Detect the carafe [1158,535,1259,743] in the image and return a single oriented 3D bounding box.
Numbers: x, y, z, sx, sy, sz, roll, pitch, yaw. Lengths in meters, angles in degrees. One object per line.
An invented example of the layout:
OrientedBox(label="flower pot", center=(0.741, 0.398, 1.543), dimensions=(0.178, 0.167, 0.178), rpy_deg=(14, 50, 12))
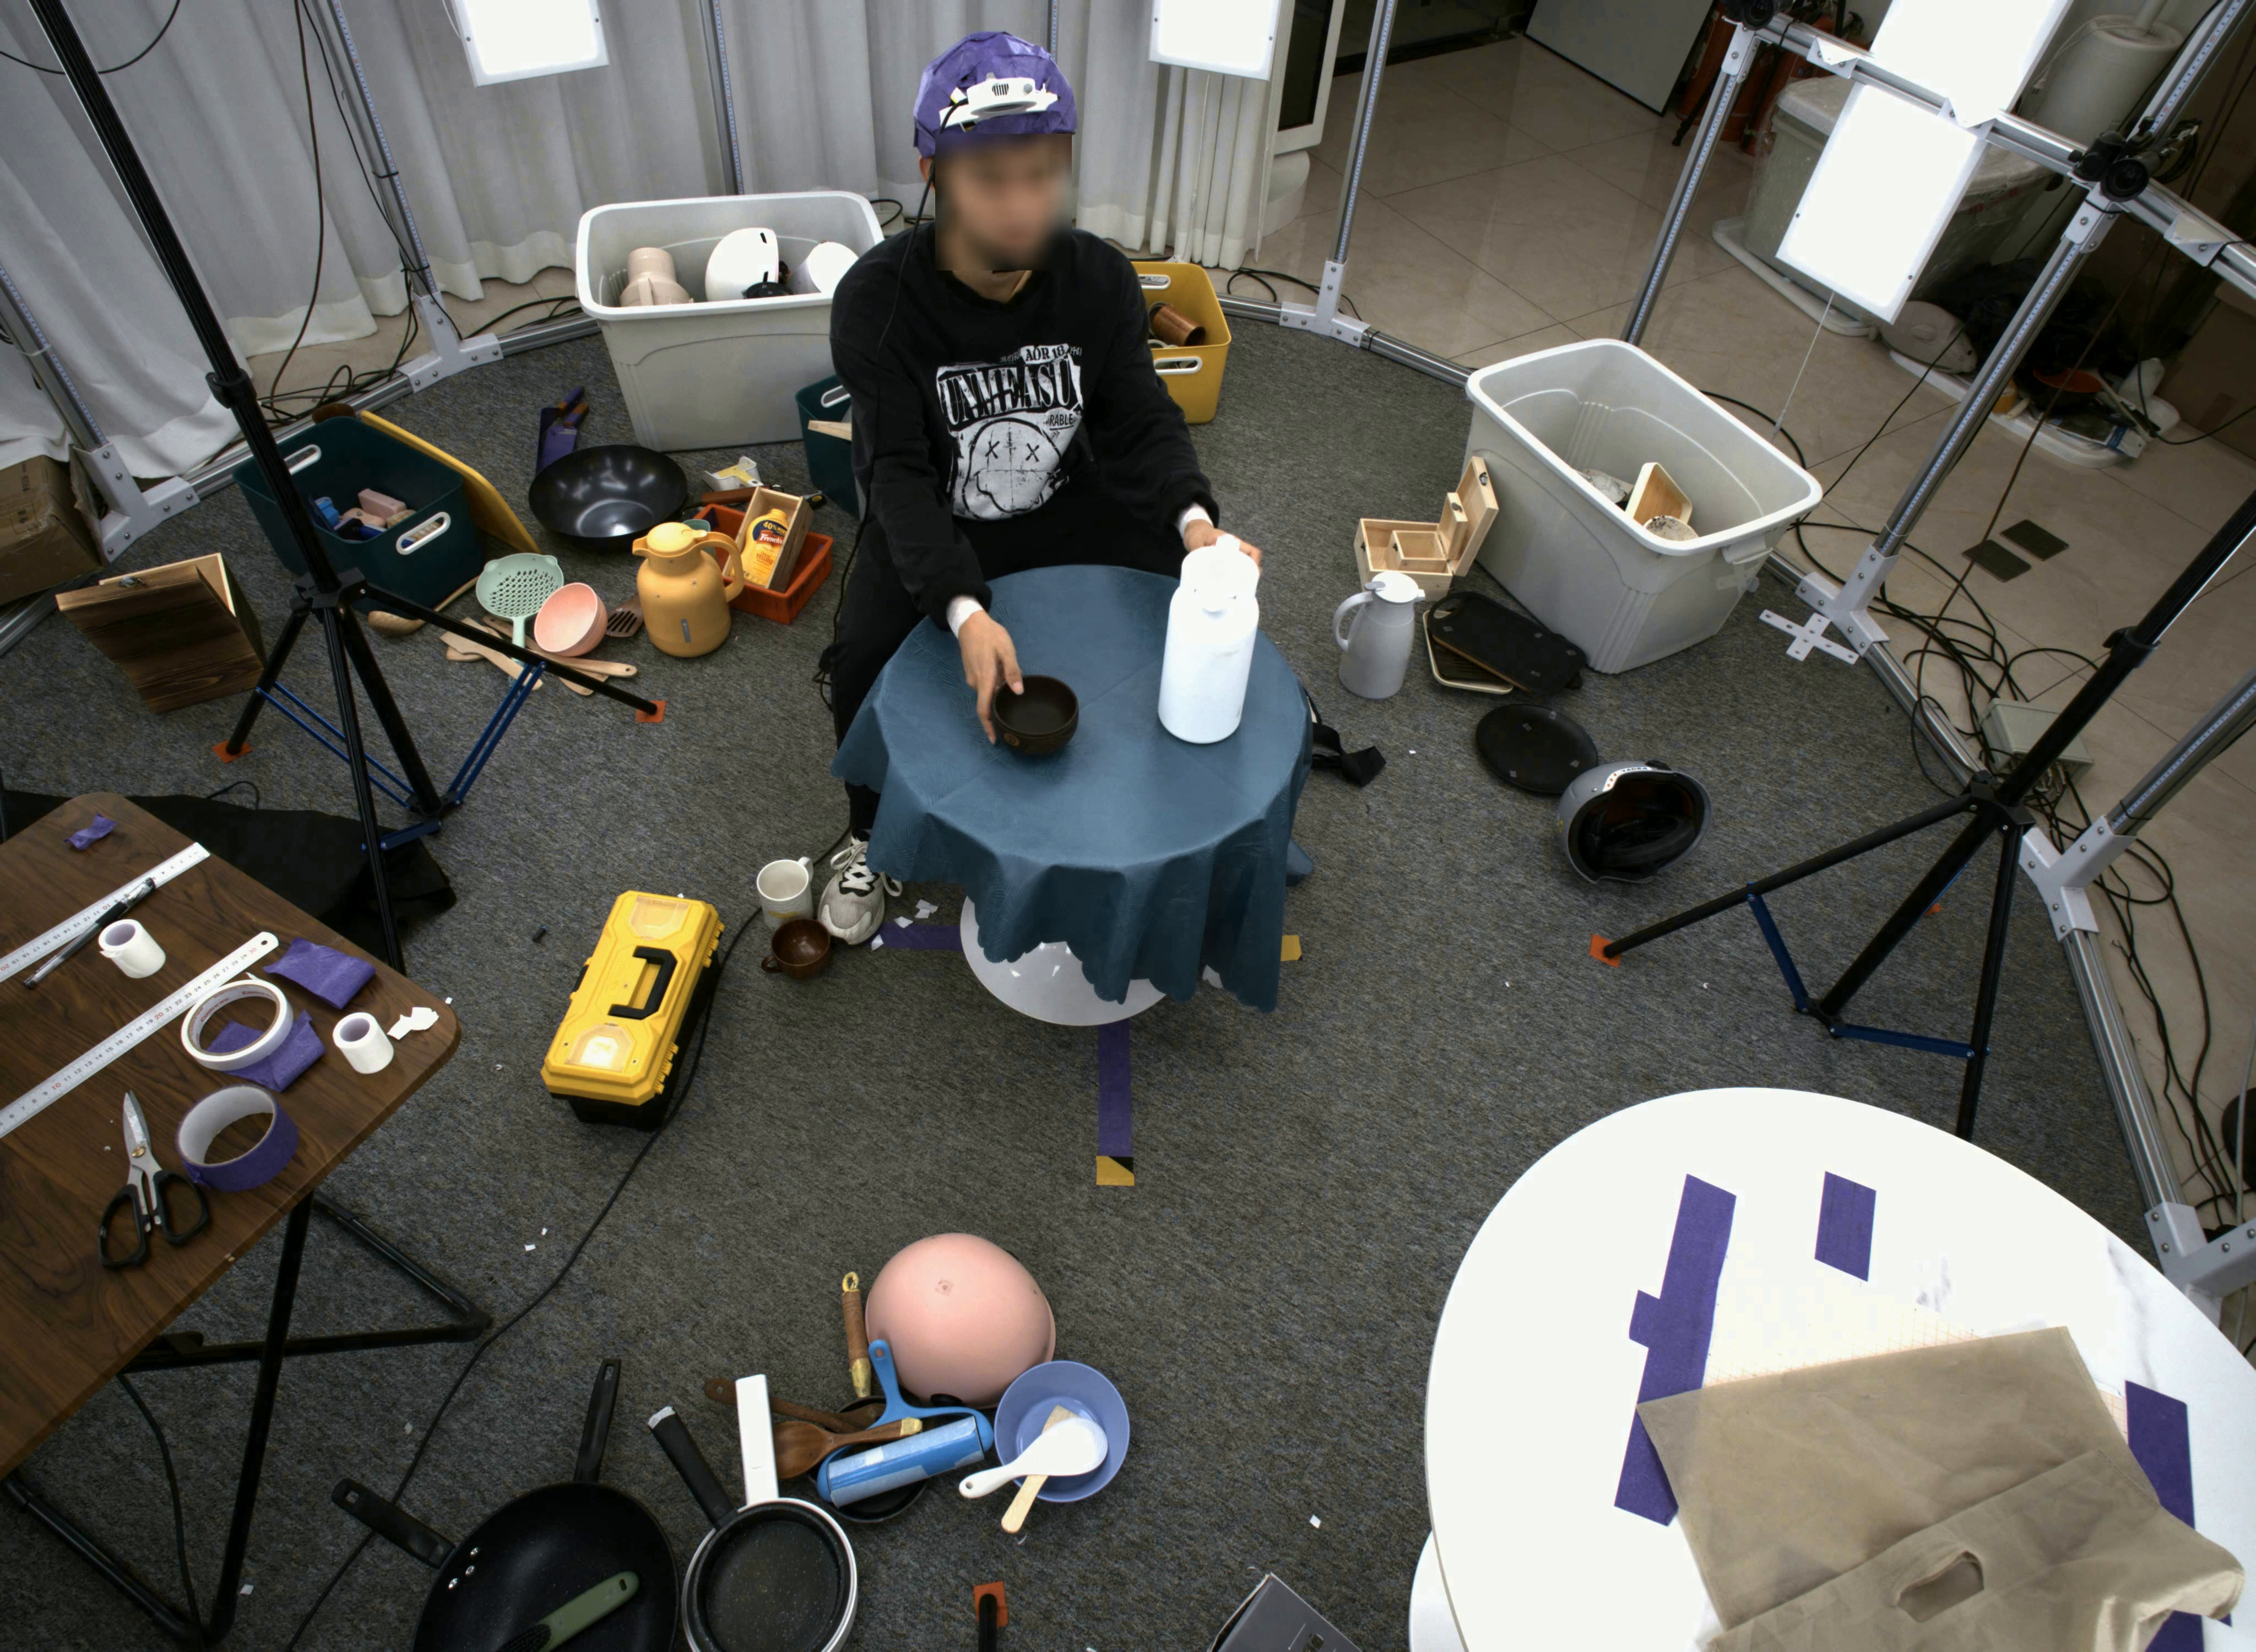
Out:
OrientedBox(label="carafe", center=(0.109, -0.253, 1.723), dimensions=(0.124, 0.262, 0.177), rpy_deg=(8, 49, 6))

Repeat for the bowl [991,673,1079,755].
OrientedBox(label="bowl", center=(-0.126, -0.143, 1.738), dimensions=(0.118, 0.068, 0.121), rpy_deg=(2, 49, -2))
